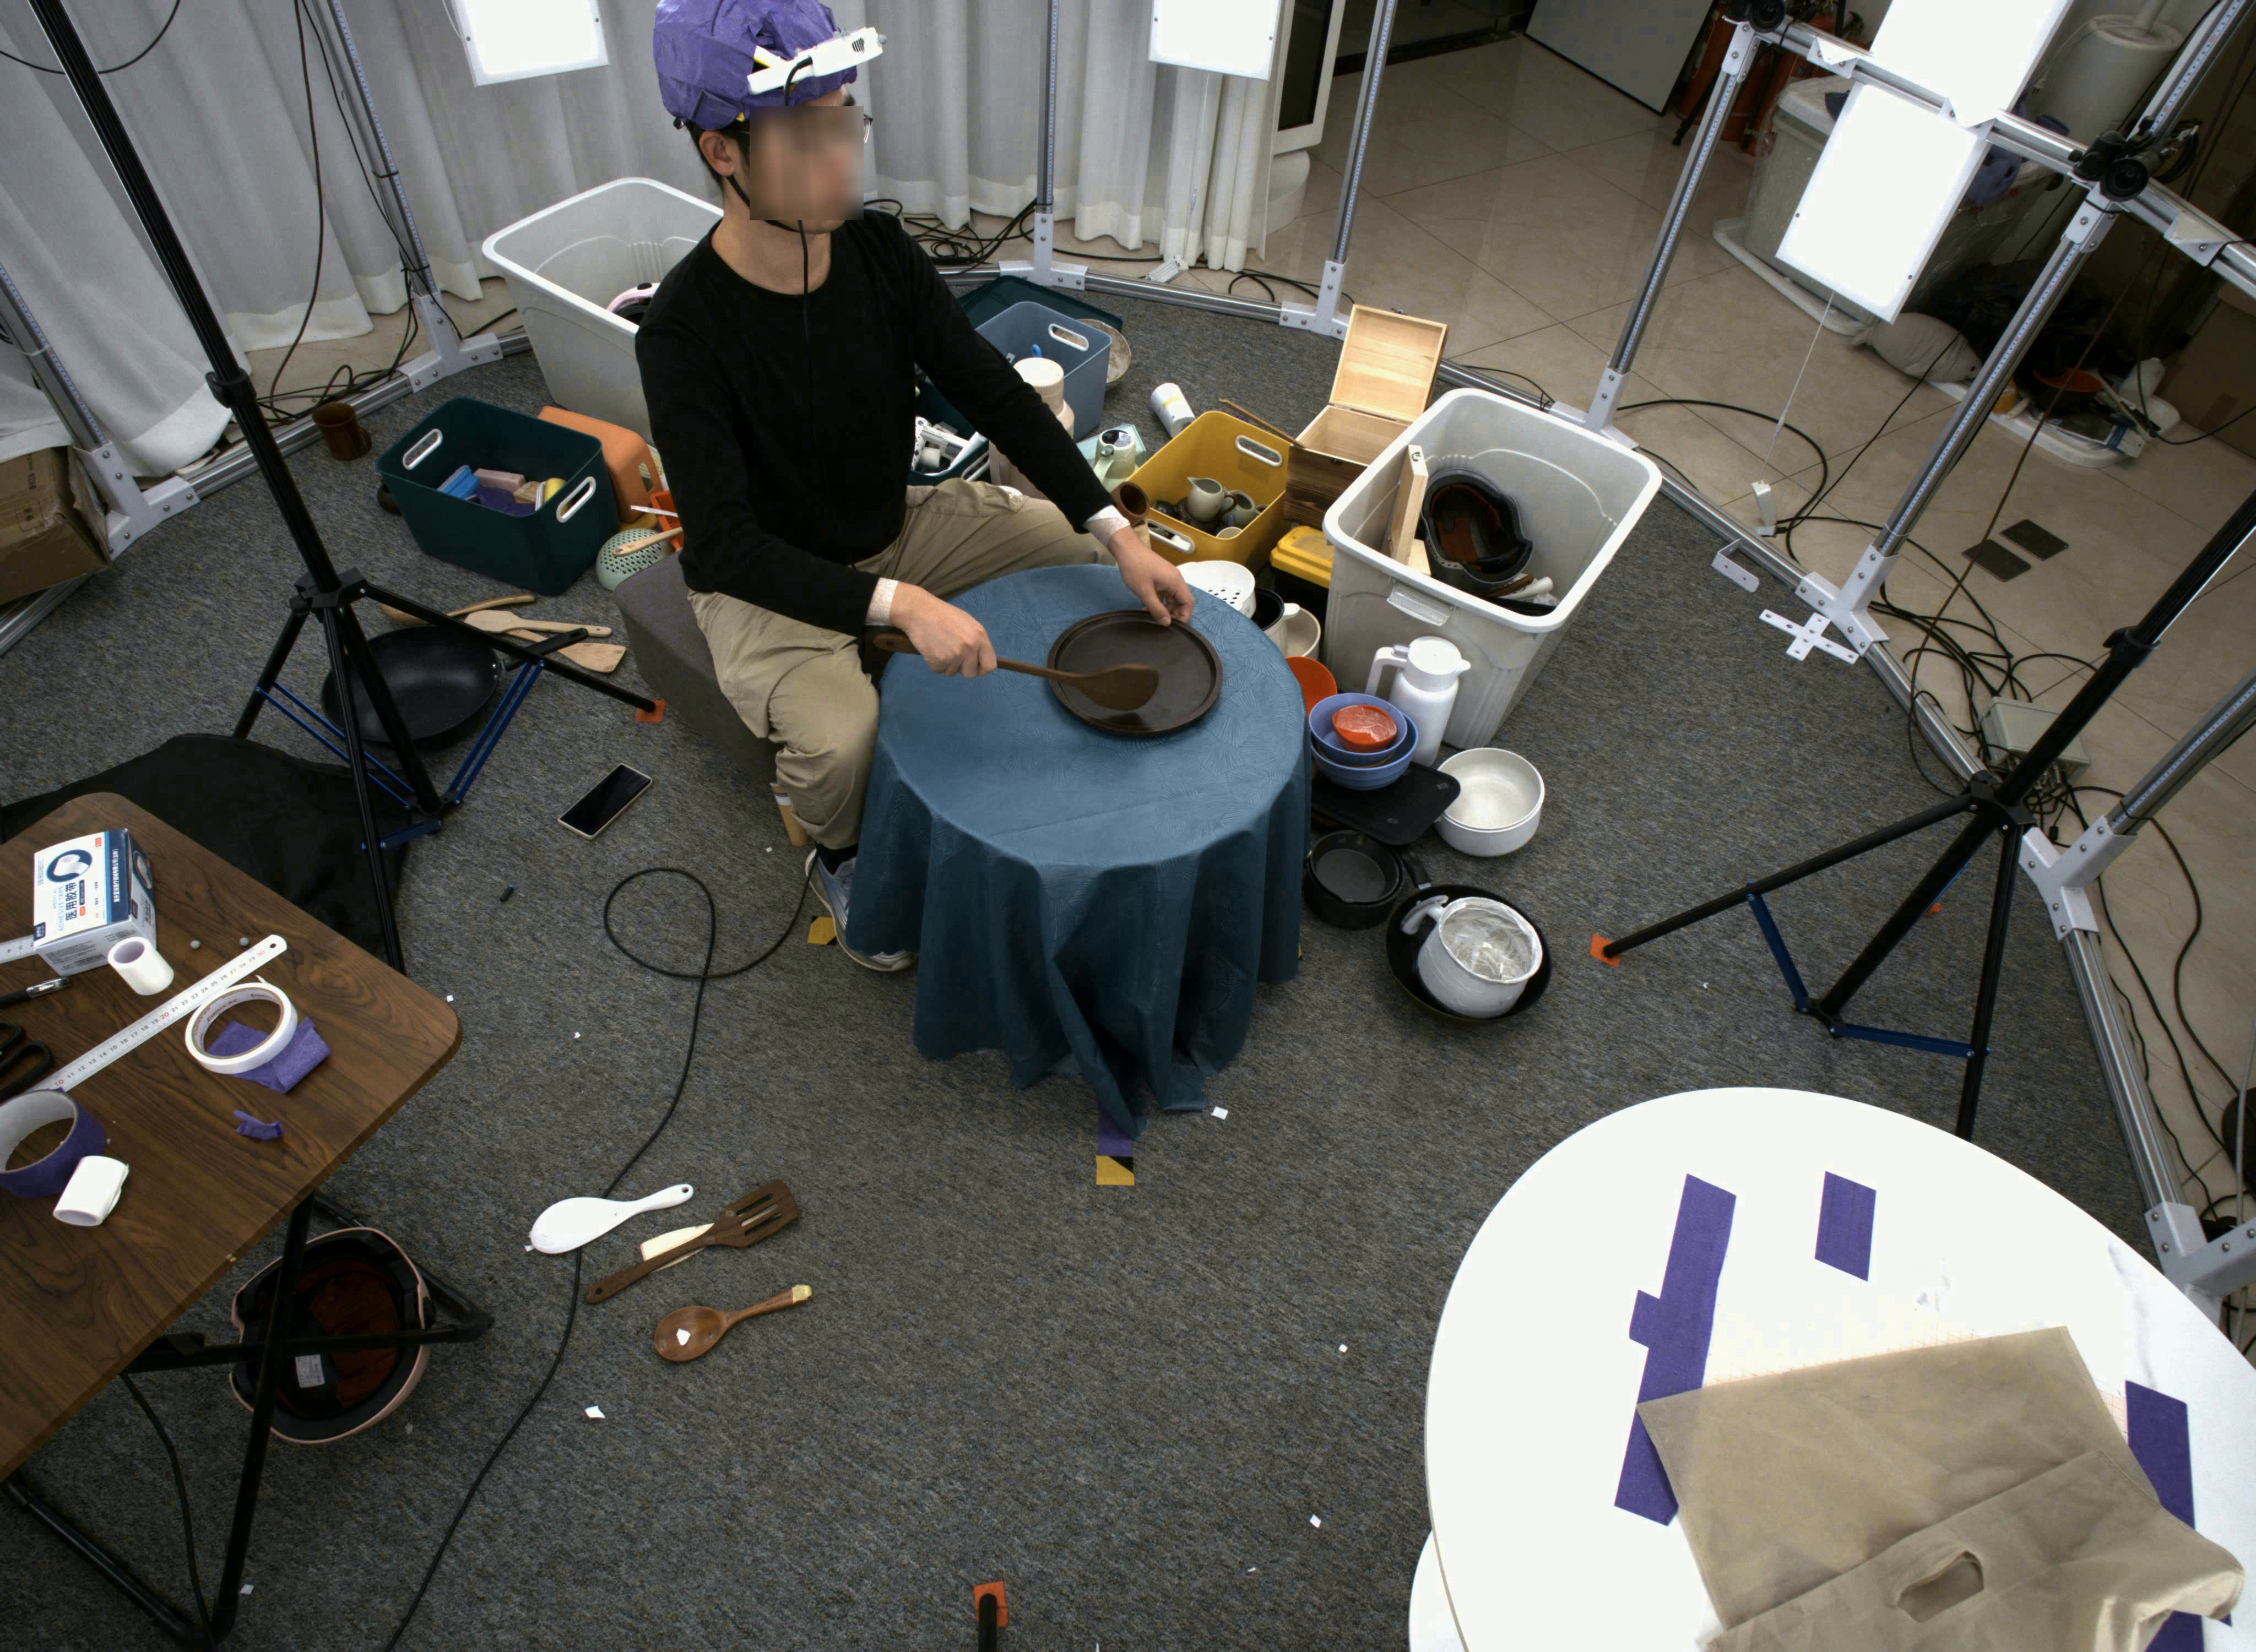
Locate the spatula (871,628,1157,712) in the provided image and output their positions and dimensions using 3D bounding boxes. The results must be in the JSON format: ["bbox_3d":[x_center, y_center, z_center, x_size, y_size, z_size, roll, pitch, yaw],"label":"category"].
[{"bbox_3d":[-0.147,-0.214,1.709,0.384,0.094,0.016,11,53,-15],"label":"spatula"}]

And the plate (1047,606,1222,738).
[{"bbox_3d":[0.009,-0.220,1.846,0.254,0.028,0.261,1,50,-2],"label":"plate"}]
